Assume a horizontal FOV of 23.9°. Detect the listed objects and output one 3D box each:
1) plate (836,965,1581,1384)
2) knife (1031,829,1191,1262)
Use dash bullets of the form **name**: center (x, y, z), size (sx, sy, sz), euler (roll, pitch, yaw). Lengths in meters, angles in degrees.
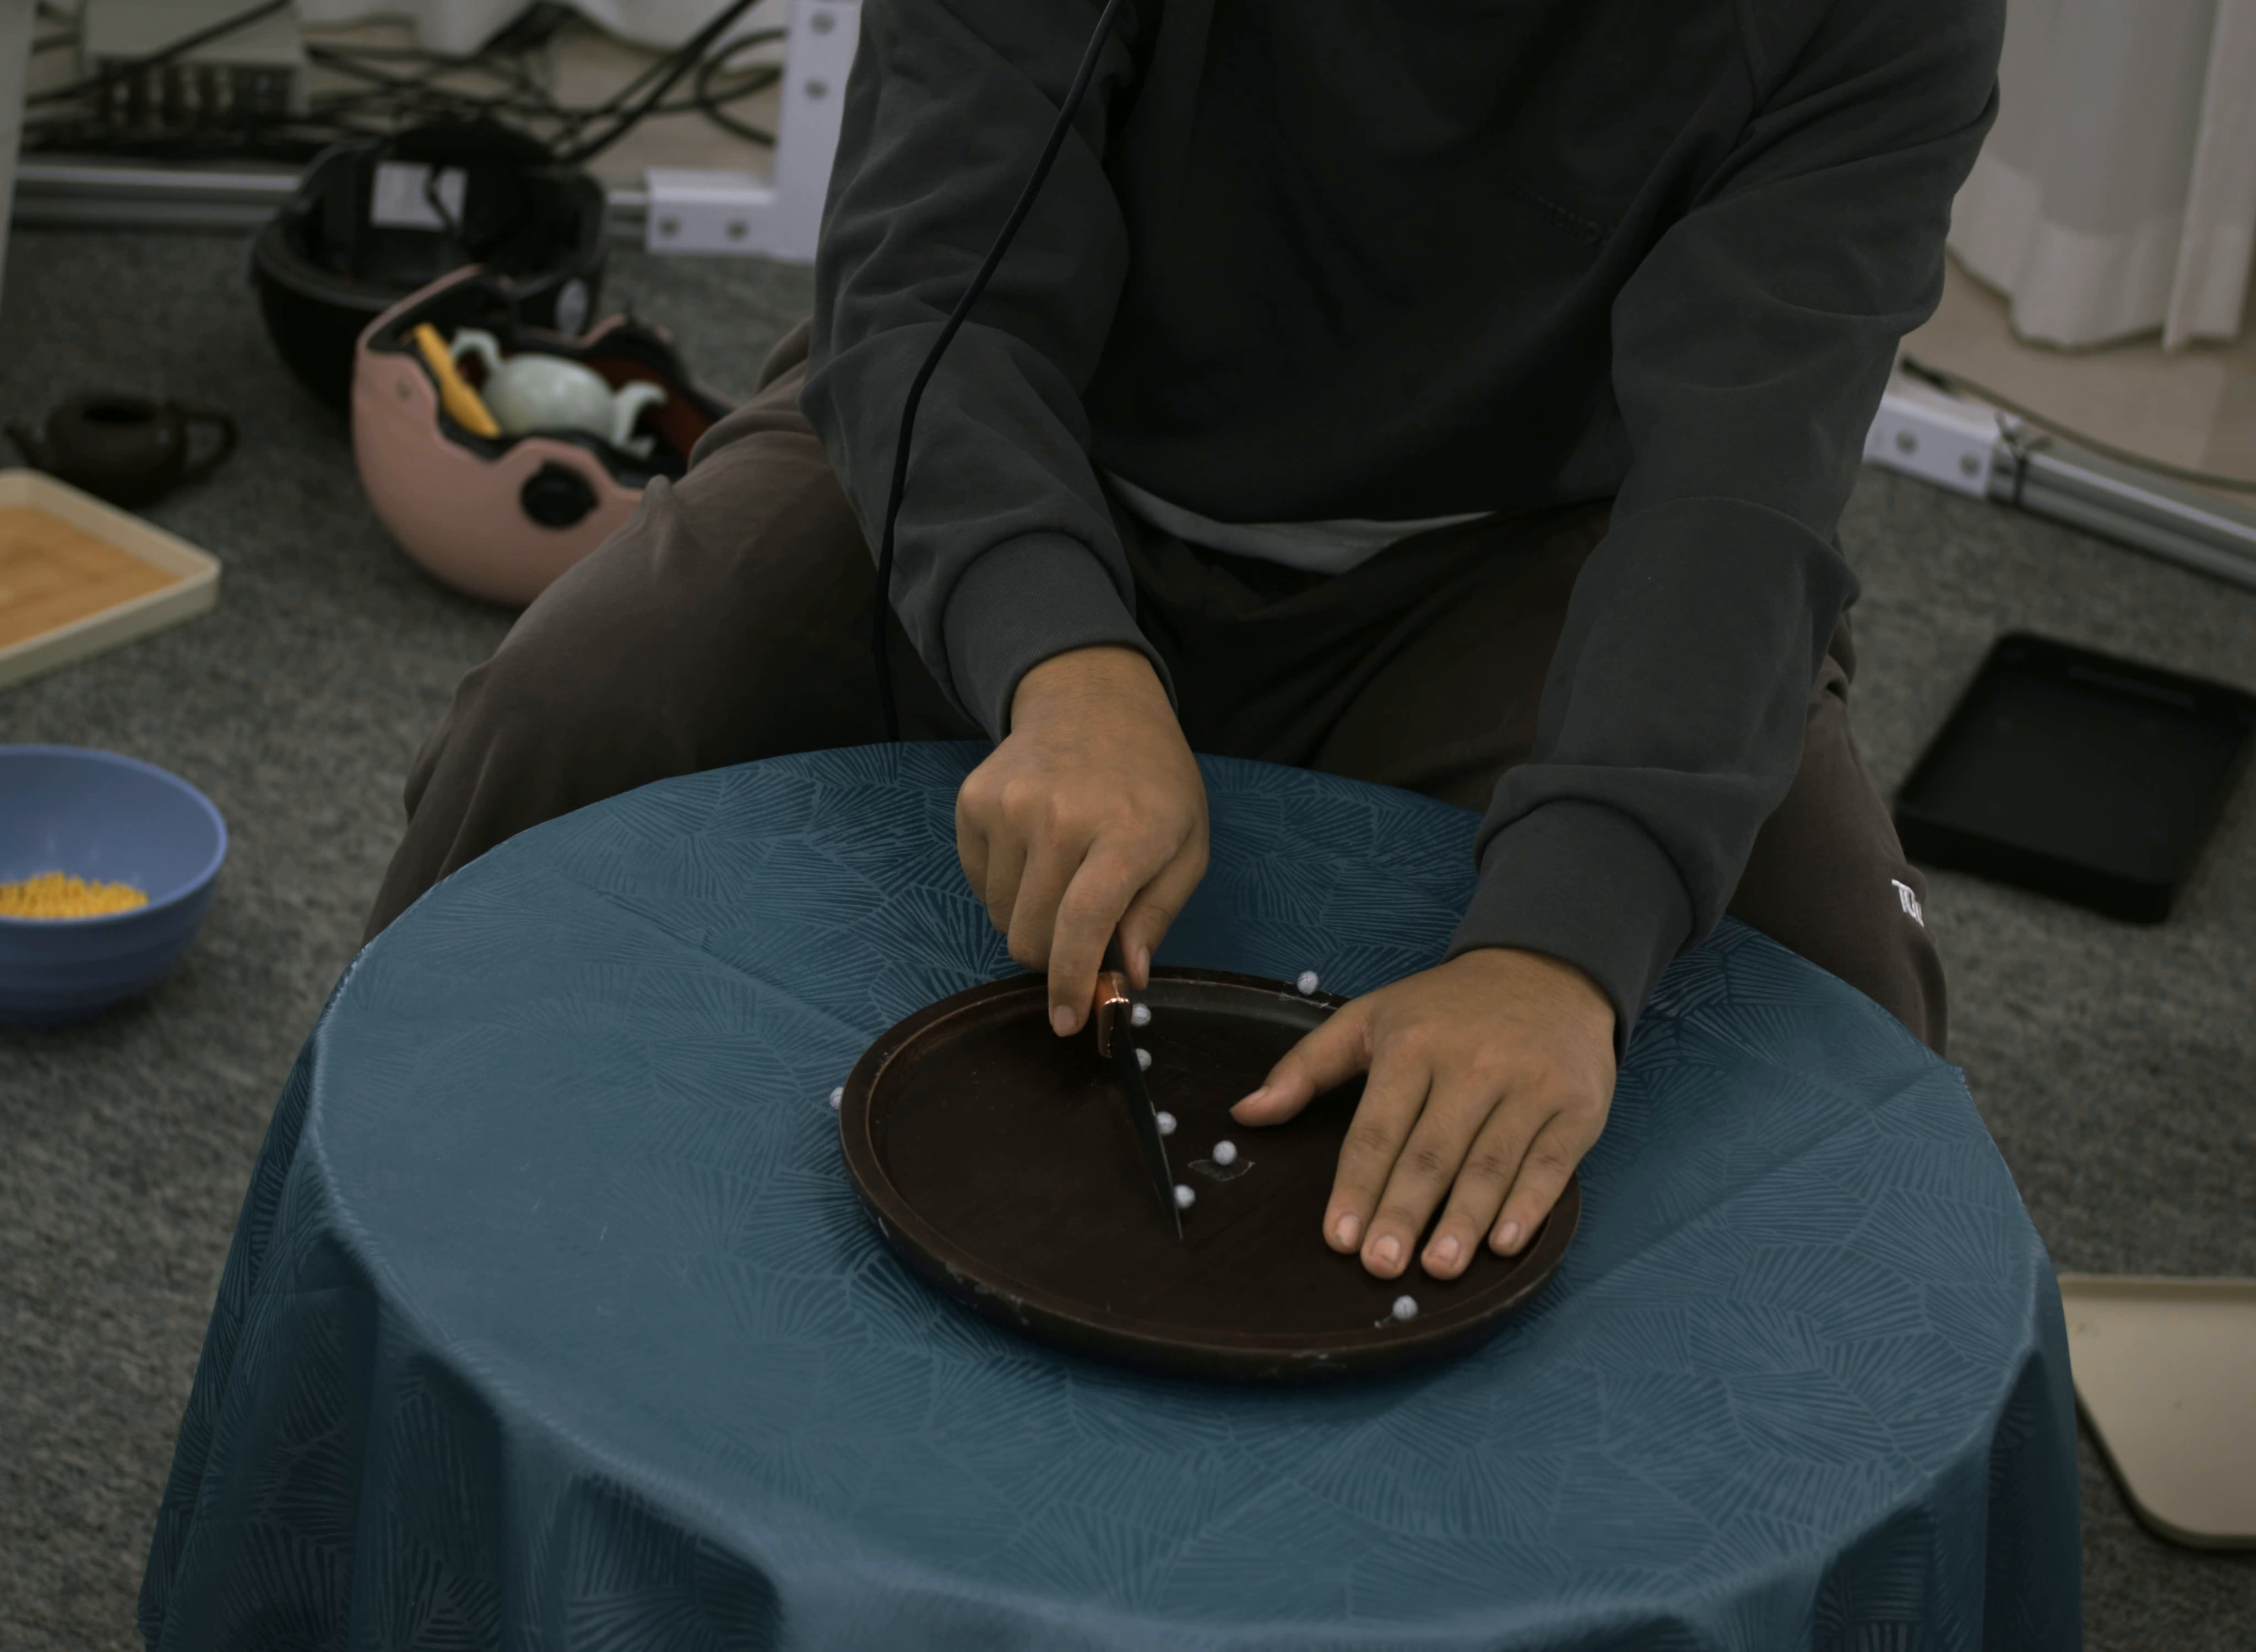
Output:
- **plate**: center (0.027, 0.116, 1.802), size (0.254, 0.029, 0.256), euler (5, 26, -3)
- **knife**: center (-0.005, 0.074, 1.841), size (0.017, 0.026, 0.227), euler (-4, 37, -13)
